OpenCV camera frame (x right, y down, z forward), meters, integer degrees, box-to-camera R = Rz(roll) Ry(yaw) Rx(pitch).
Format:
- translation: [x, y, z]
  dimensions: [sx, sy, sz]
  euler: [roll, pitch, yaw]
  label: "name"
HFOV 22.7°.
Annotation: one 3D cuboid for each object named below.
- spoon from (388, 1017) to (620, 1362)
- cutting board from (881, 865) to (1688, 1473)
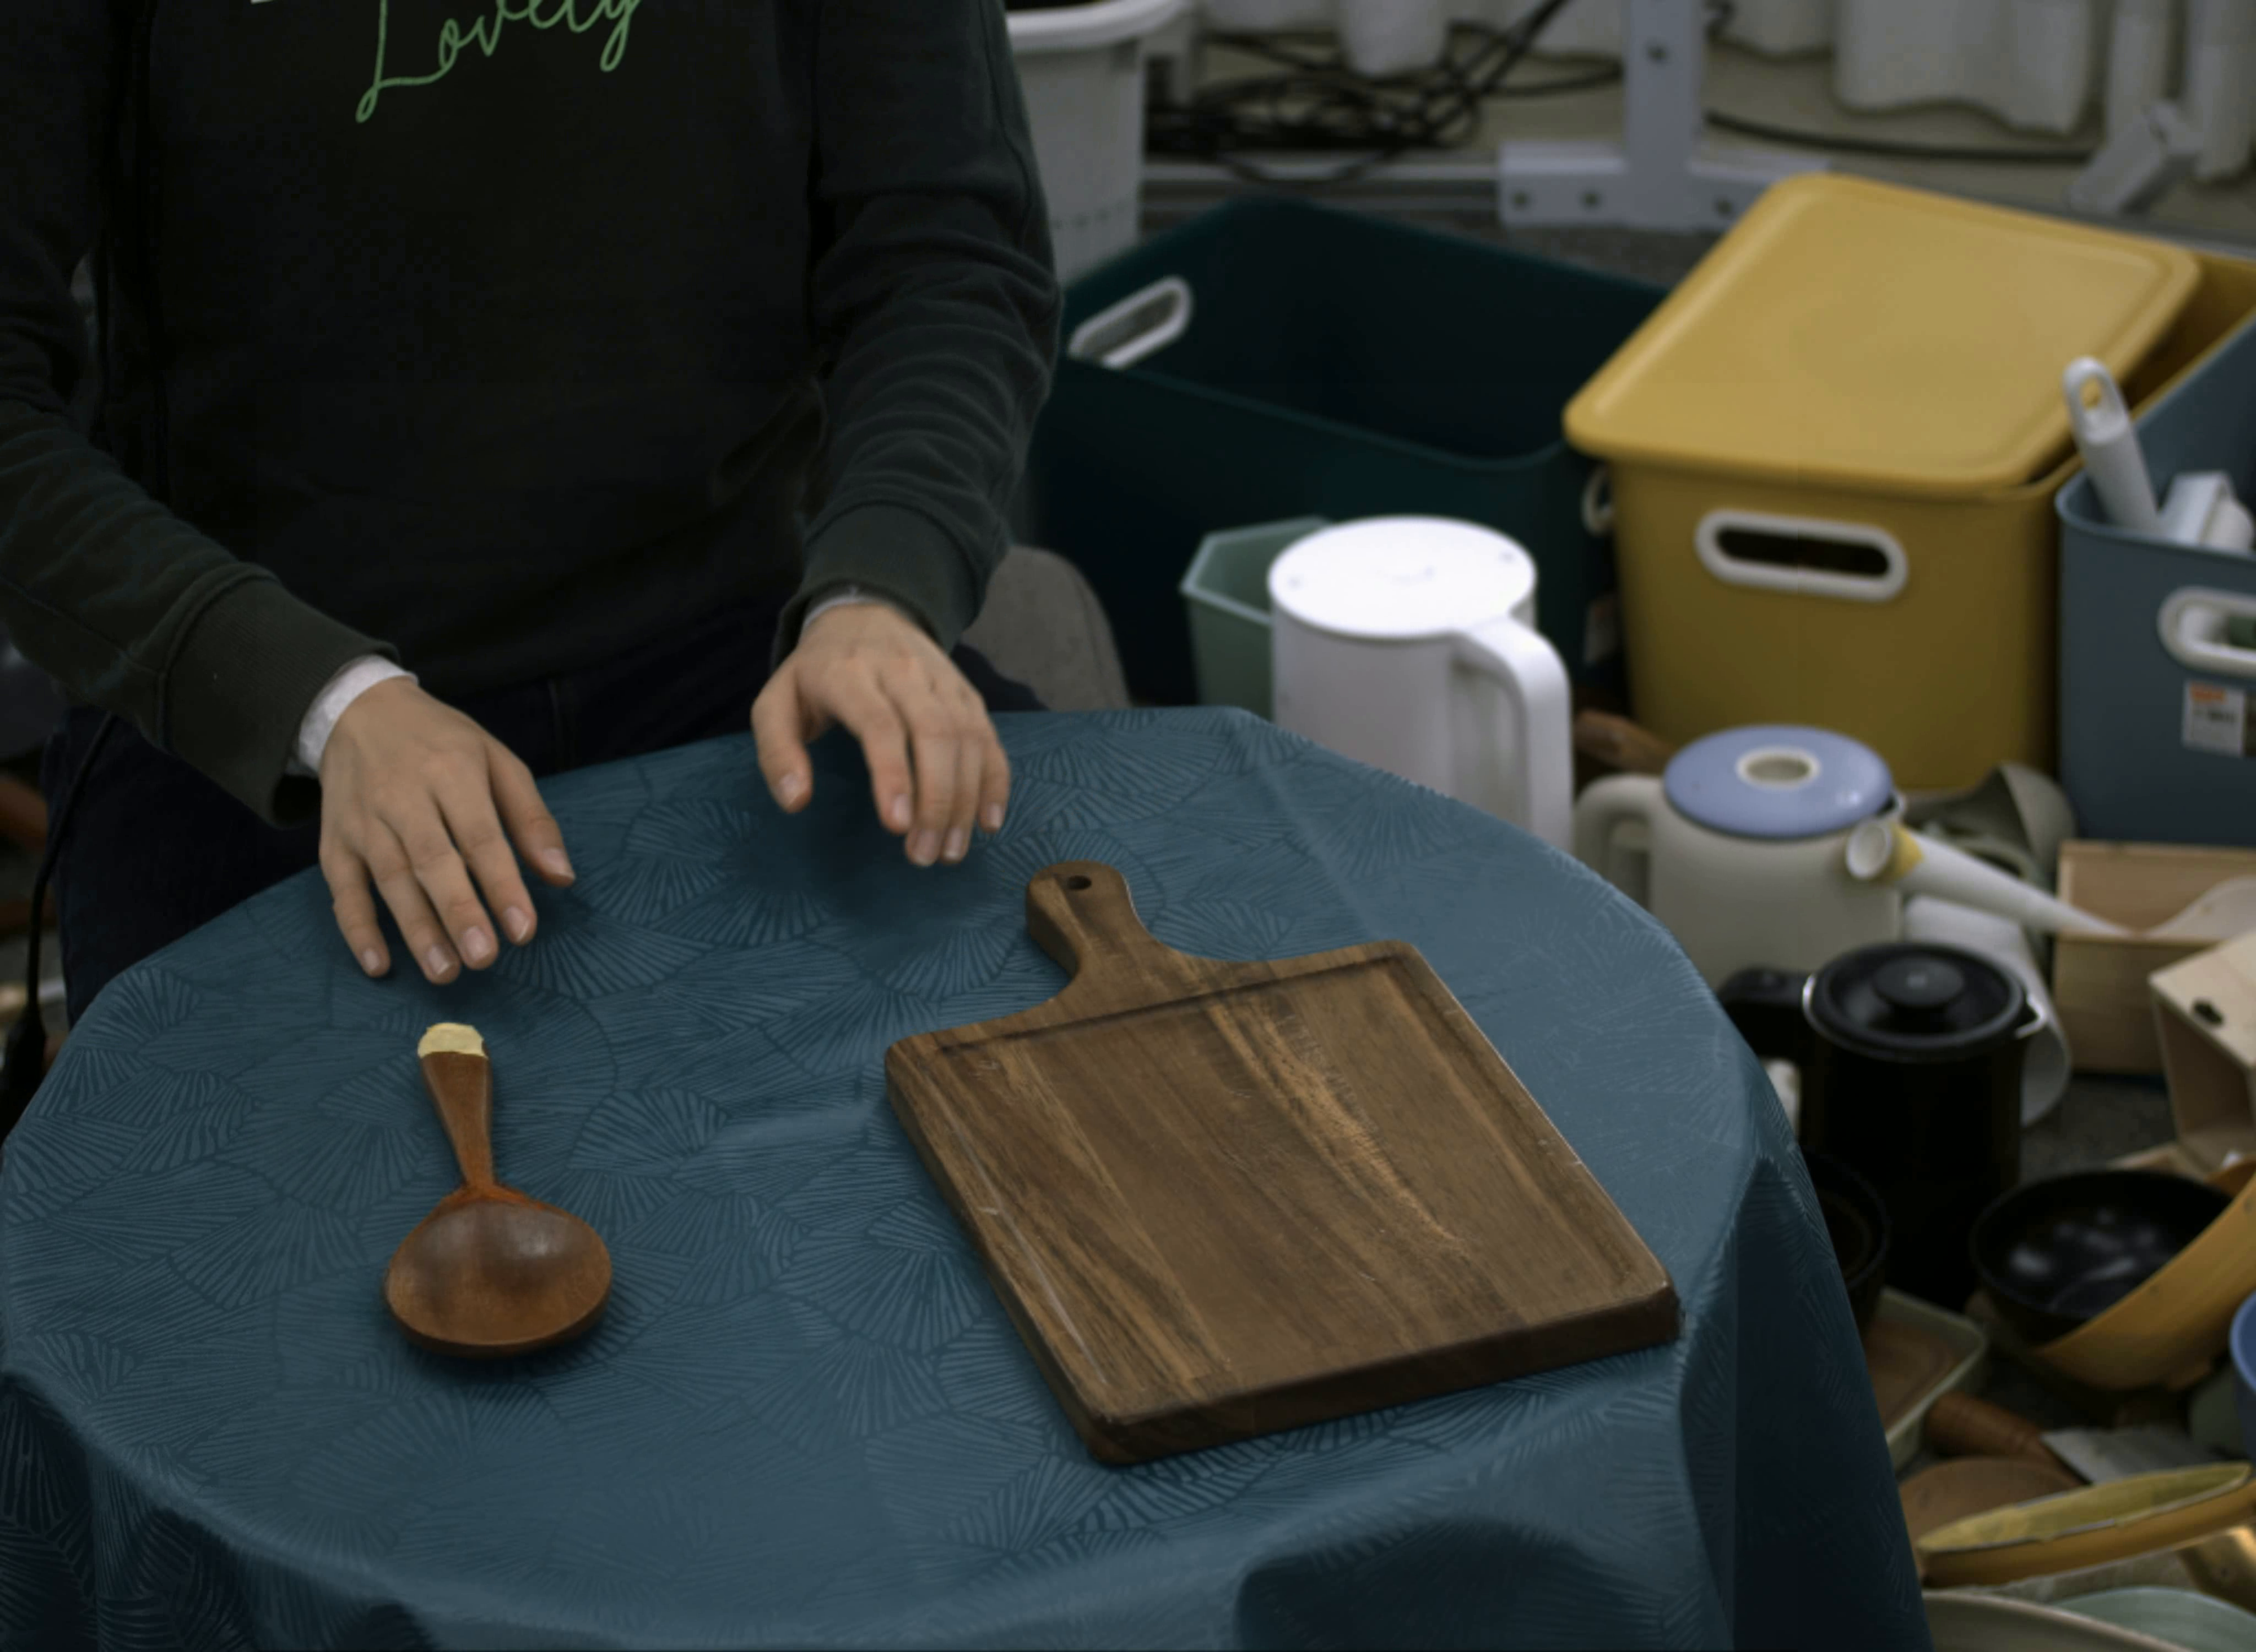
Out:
- translation: [-0.214, 0.121, 1.864]
  dimensions: [0.075, 0.017, 0.218]
  euler: [-9, 28, -9]
  label: "spoon"
- translation: [0.031, 0.098, 1.885]
  dimensions: [0.201, 0.023, 0.355]
  euler: [-11, 28, -14]
  label: "cutting board"
